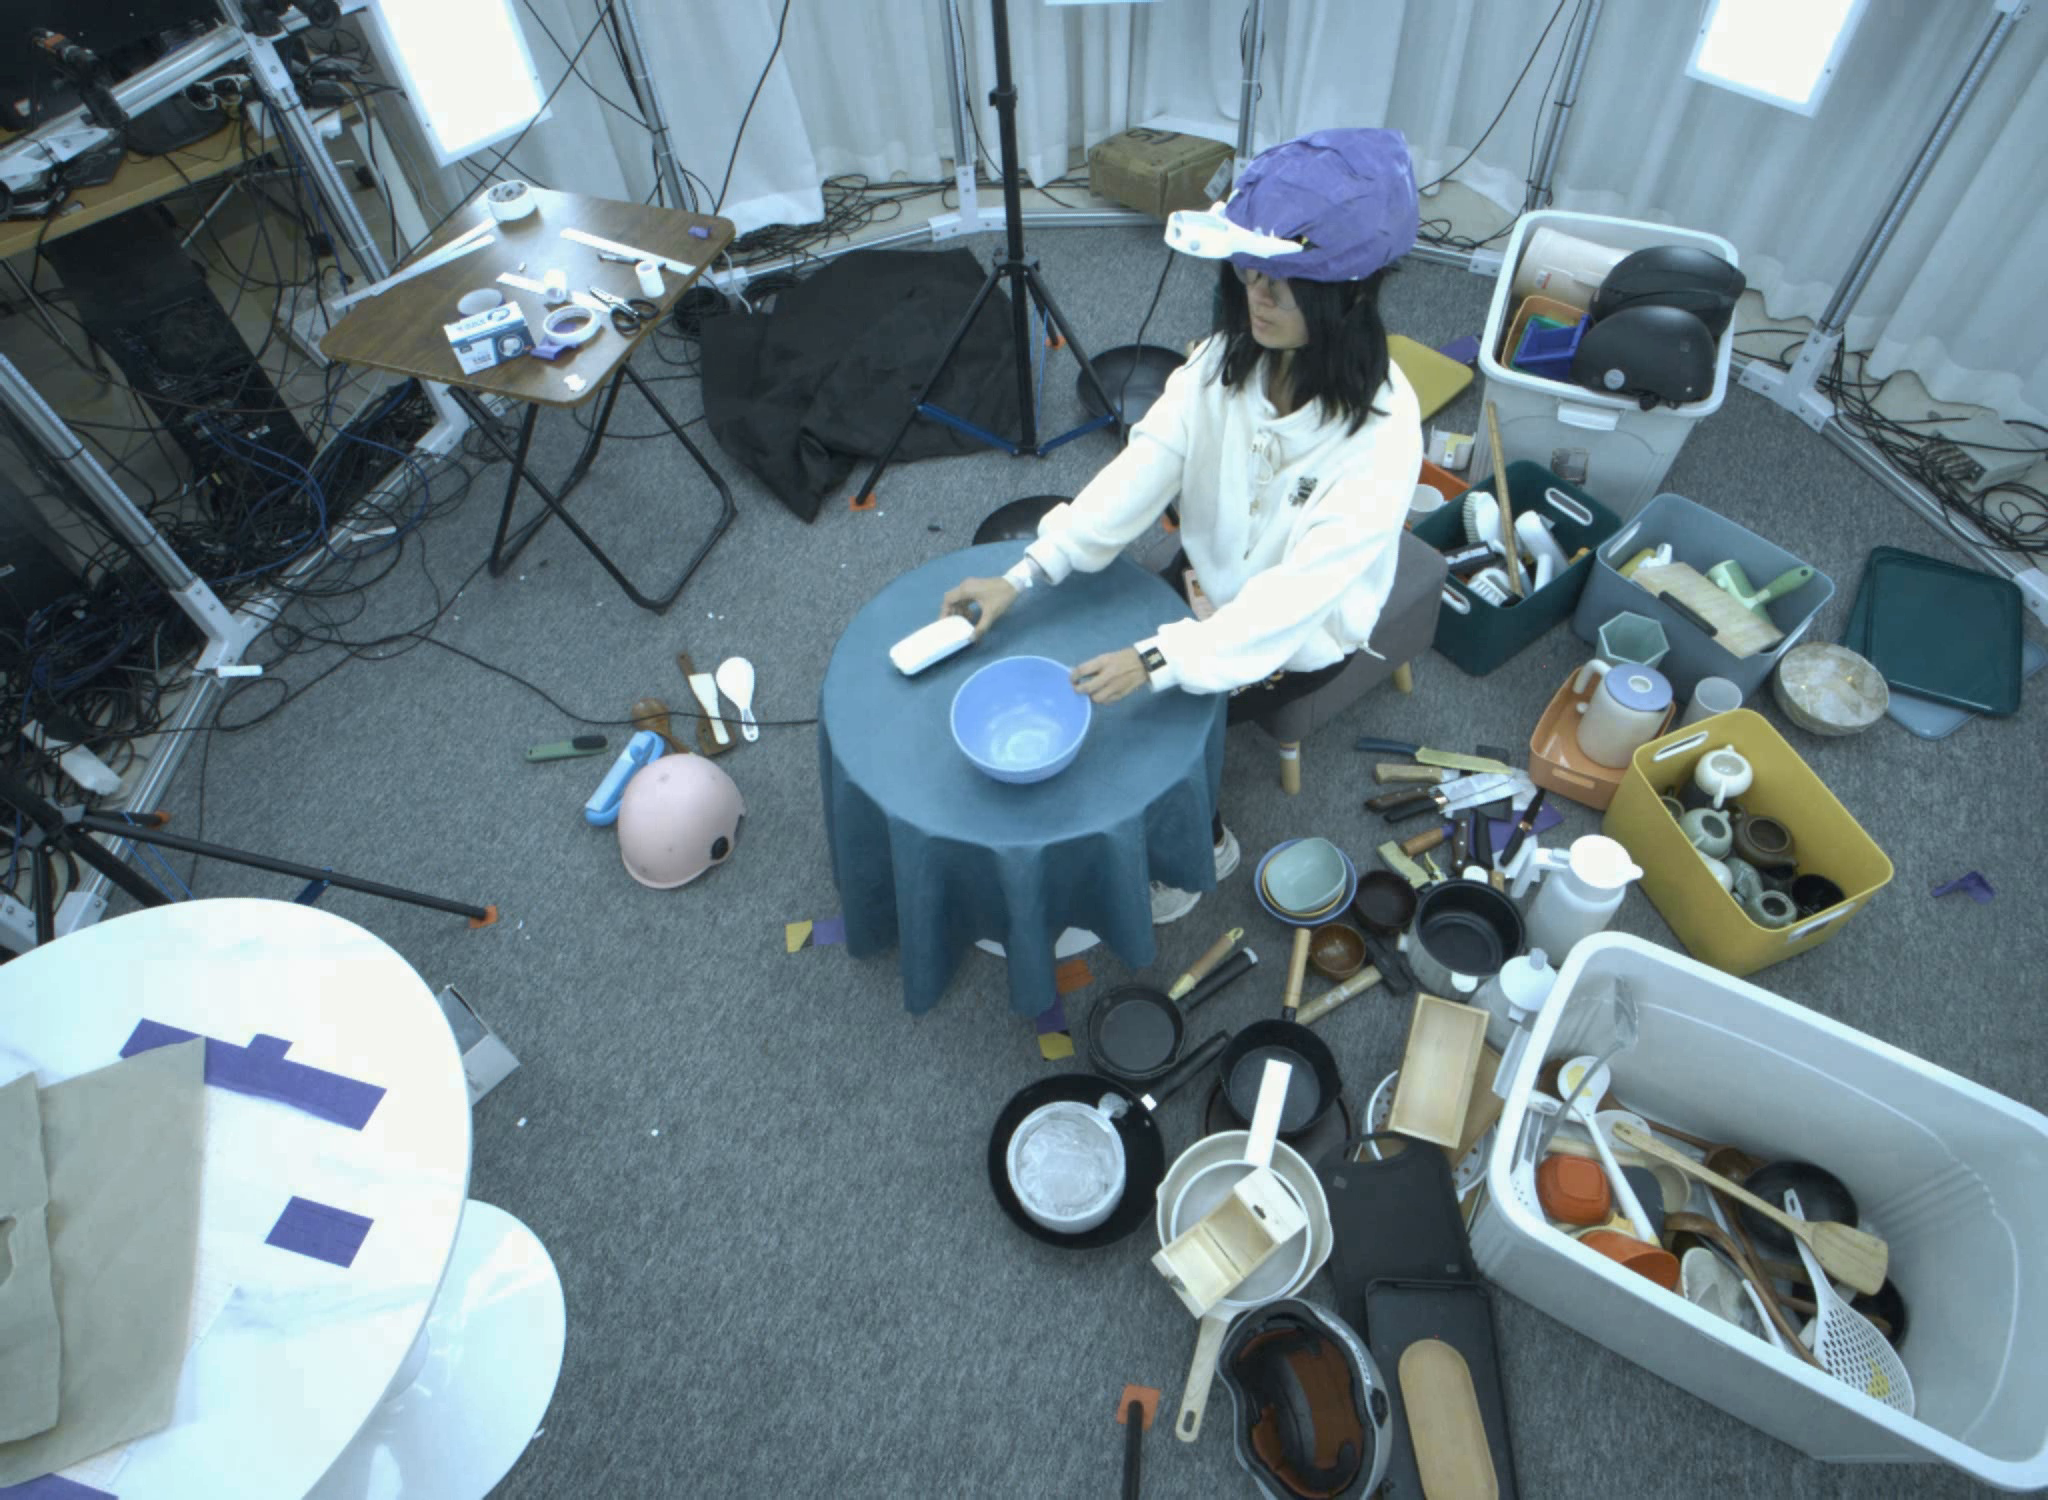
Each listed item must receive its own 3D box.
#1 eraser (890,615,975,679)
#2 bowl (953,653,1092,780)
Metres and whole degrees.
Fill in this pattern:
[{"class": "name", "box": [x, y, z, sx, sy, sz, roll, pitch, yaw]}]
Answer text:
[{"class": "eraser", "box": [-0.139, -0.160, 1.882, 0.132, 0.035, 0.062, -30, 51, -16]}, {"class": "bowl", "box": [0.006, -0.032, 1.748, 0.195, 0.097, 0.194, -5, 57, 9]}]
